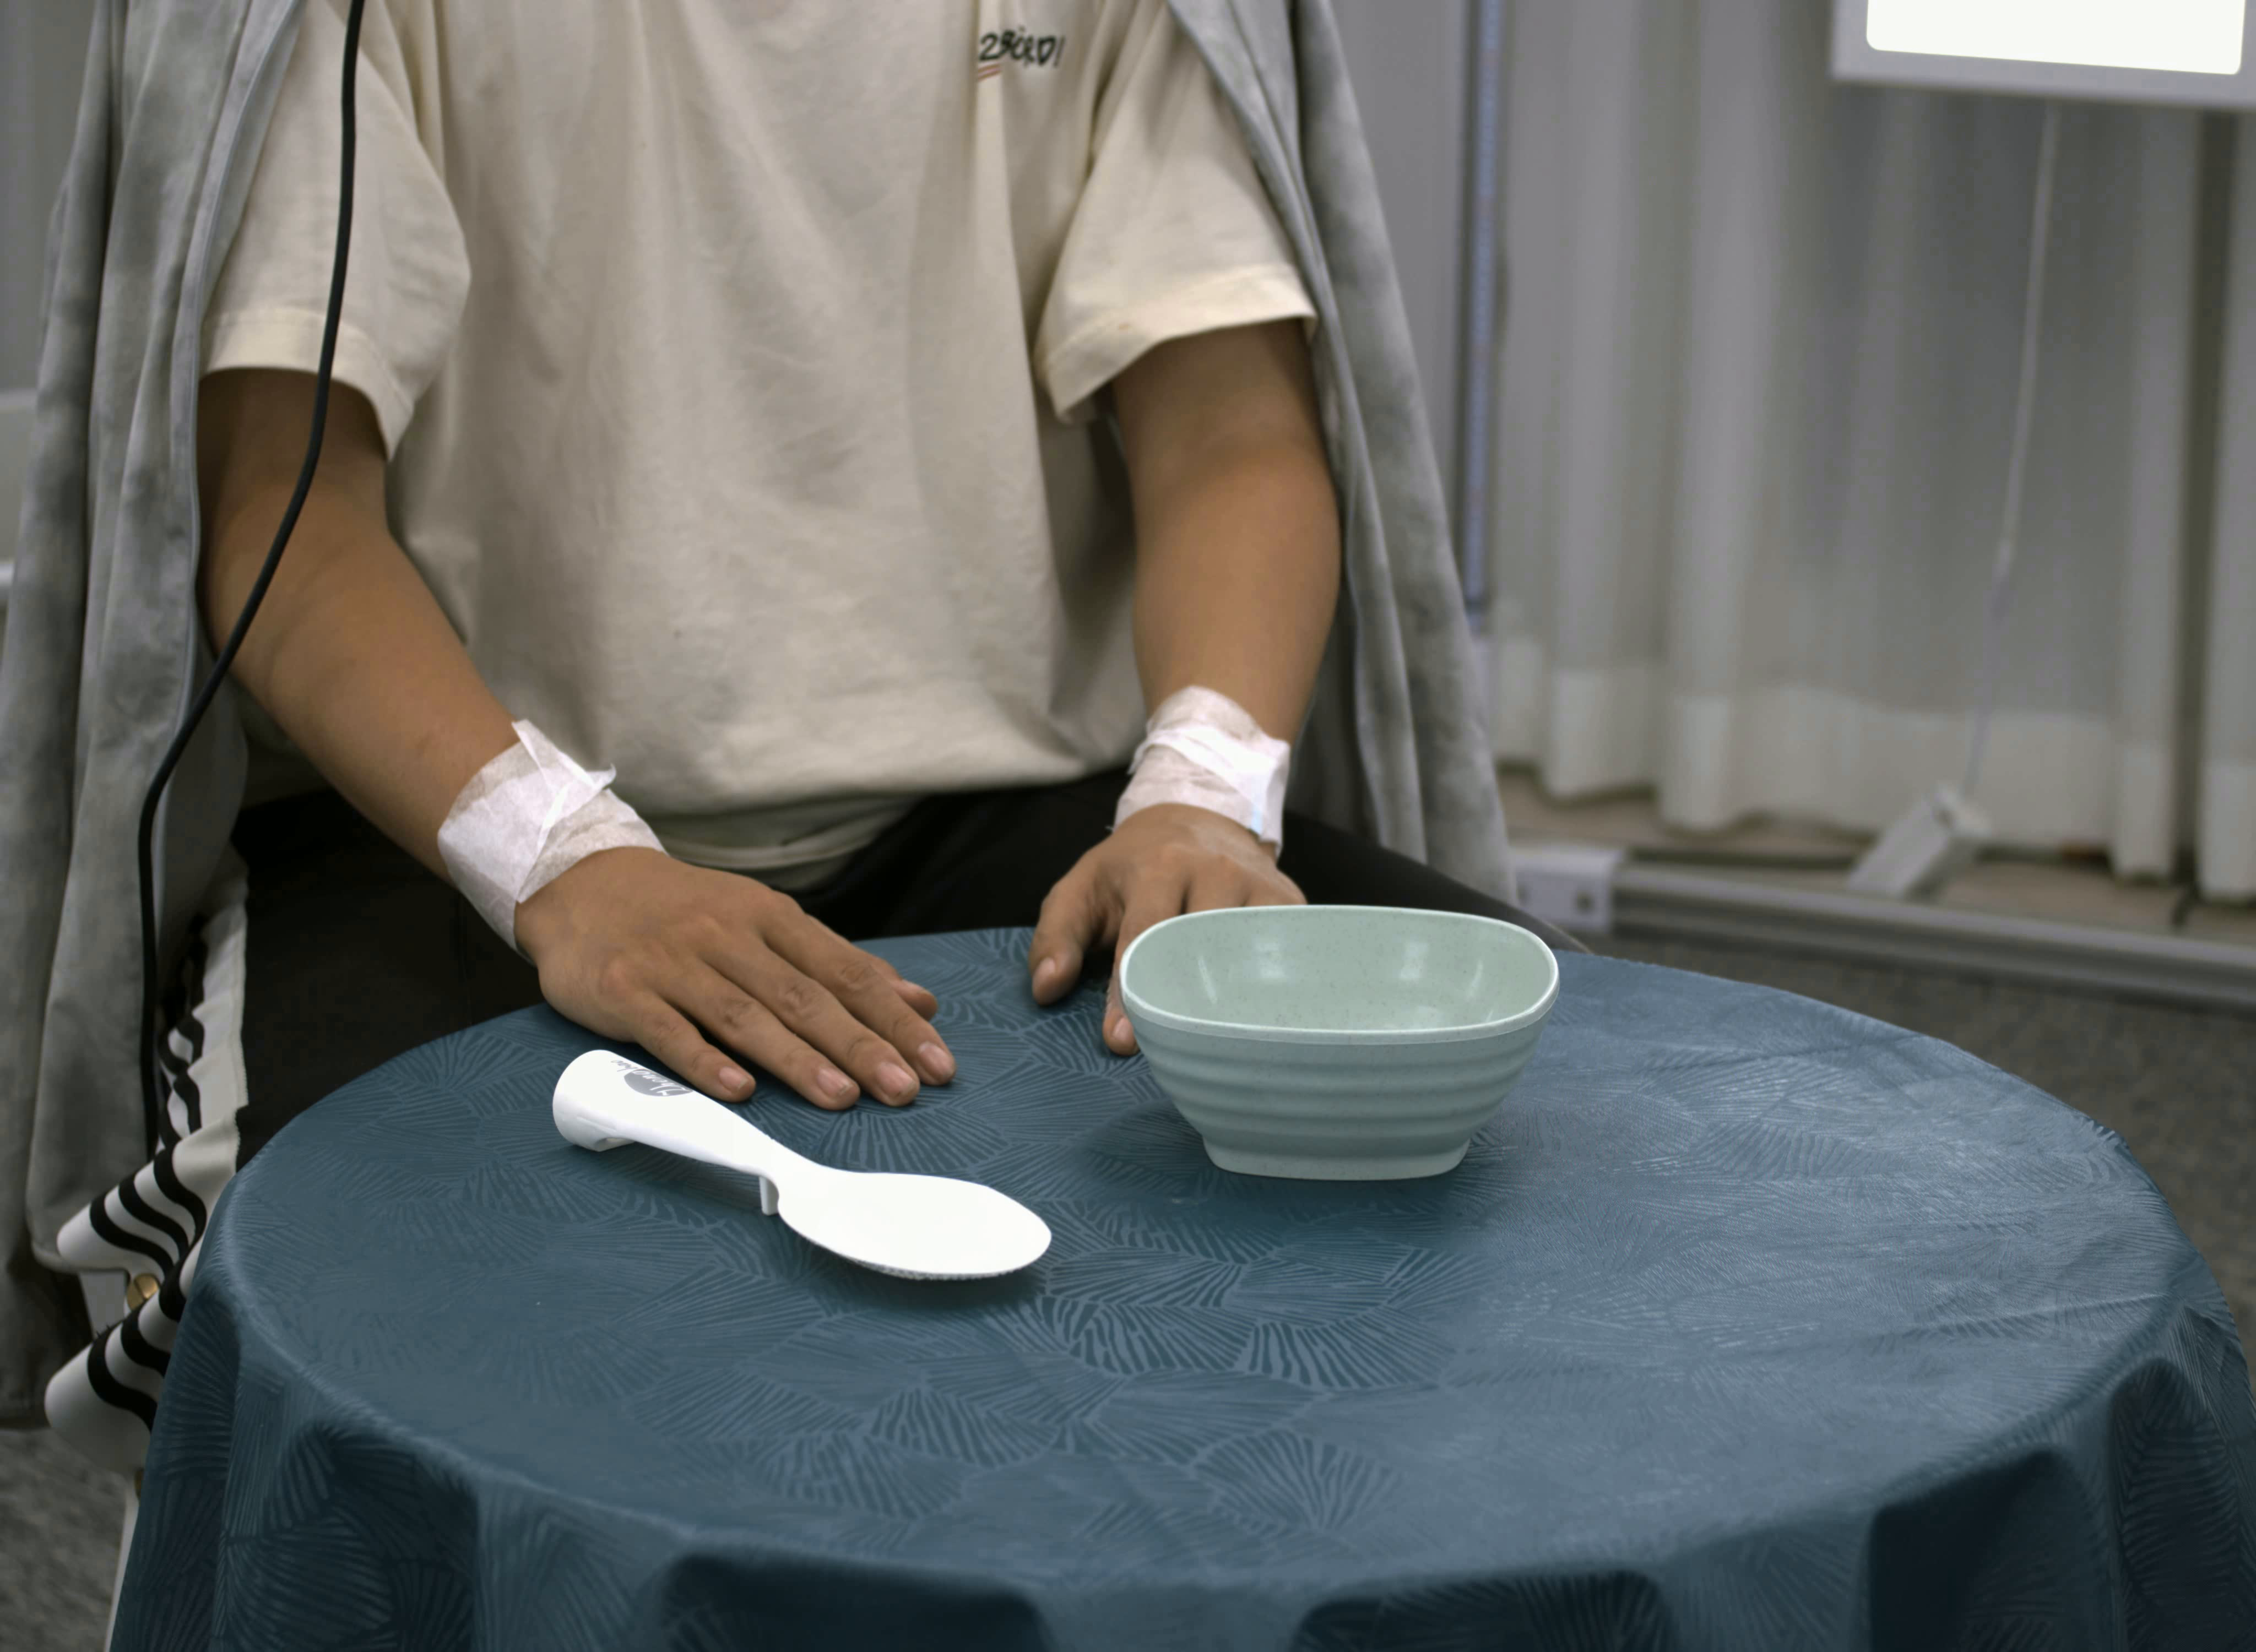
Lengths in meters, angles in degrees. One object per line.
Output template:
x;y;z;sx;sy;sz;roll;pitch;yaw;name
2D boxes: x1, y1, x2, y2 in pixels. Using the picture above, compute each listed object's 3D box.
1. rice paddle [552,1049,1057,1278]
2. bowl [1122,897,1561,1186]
-0.100;0.104;1.595;0.069;0.029;0.202;-16;22;-41;rice paddle
0.067;0.071;1.670;0.151;0.059;0.150;0;18;1;bowl
